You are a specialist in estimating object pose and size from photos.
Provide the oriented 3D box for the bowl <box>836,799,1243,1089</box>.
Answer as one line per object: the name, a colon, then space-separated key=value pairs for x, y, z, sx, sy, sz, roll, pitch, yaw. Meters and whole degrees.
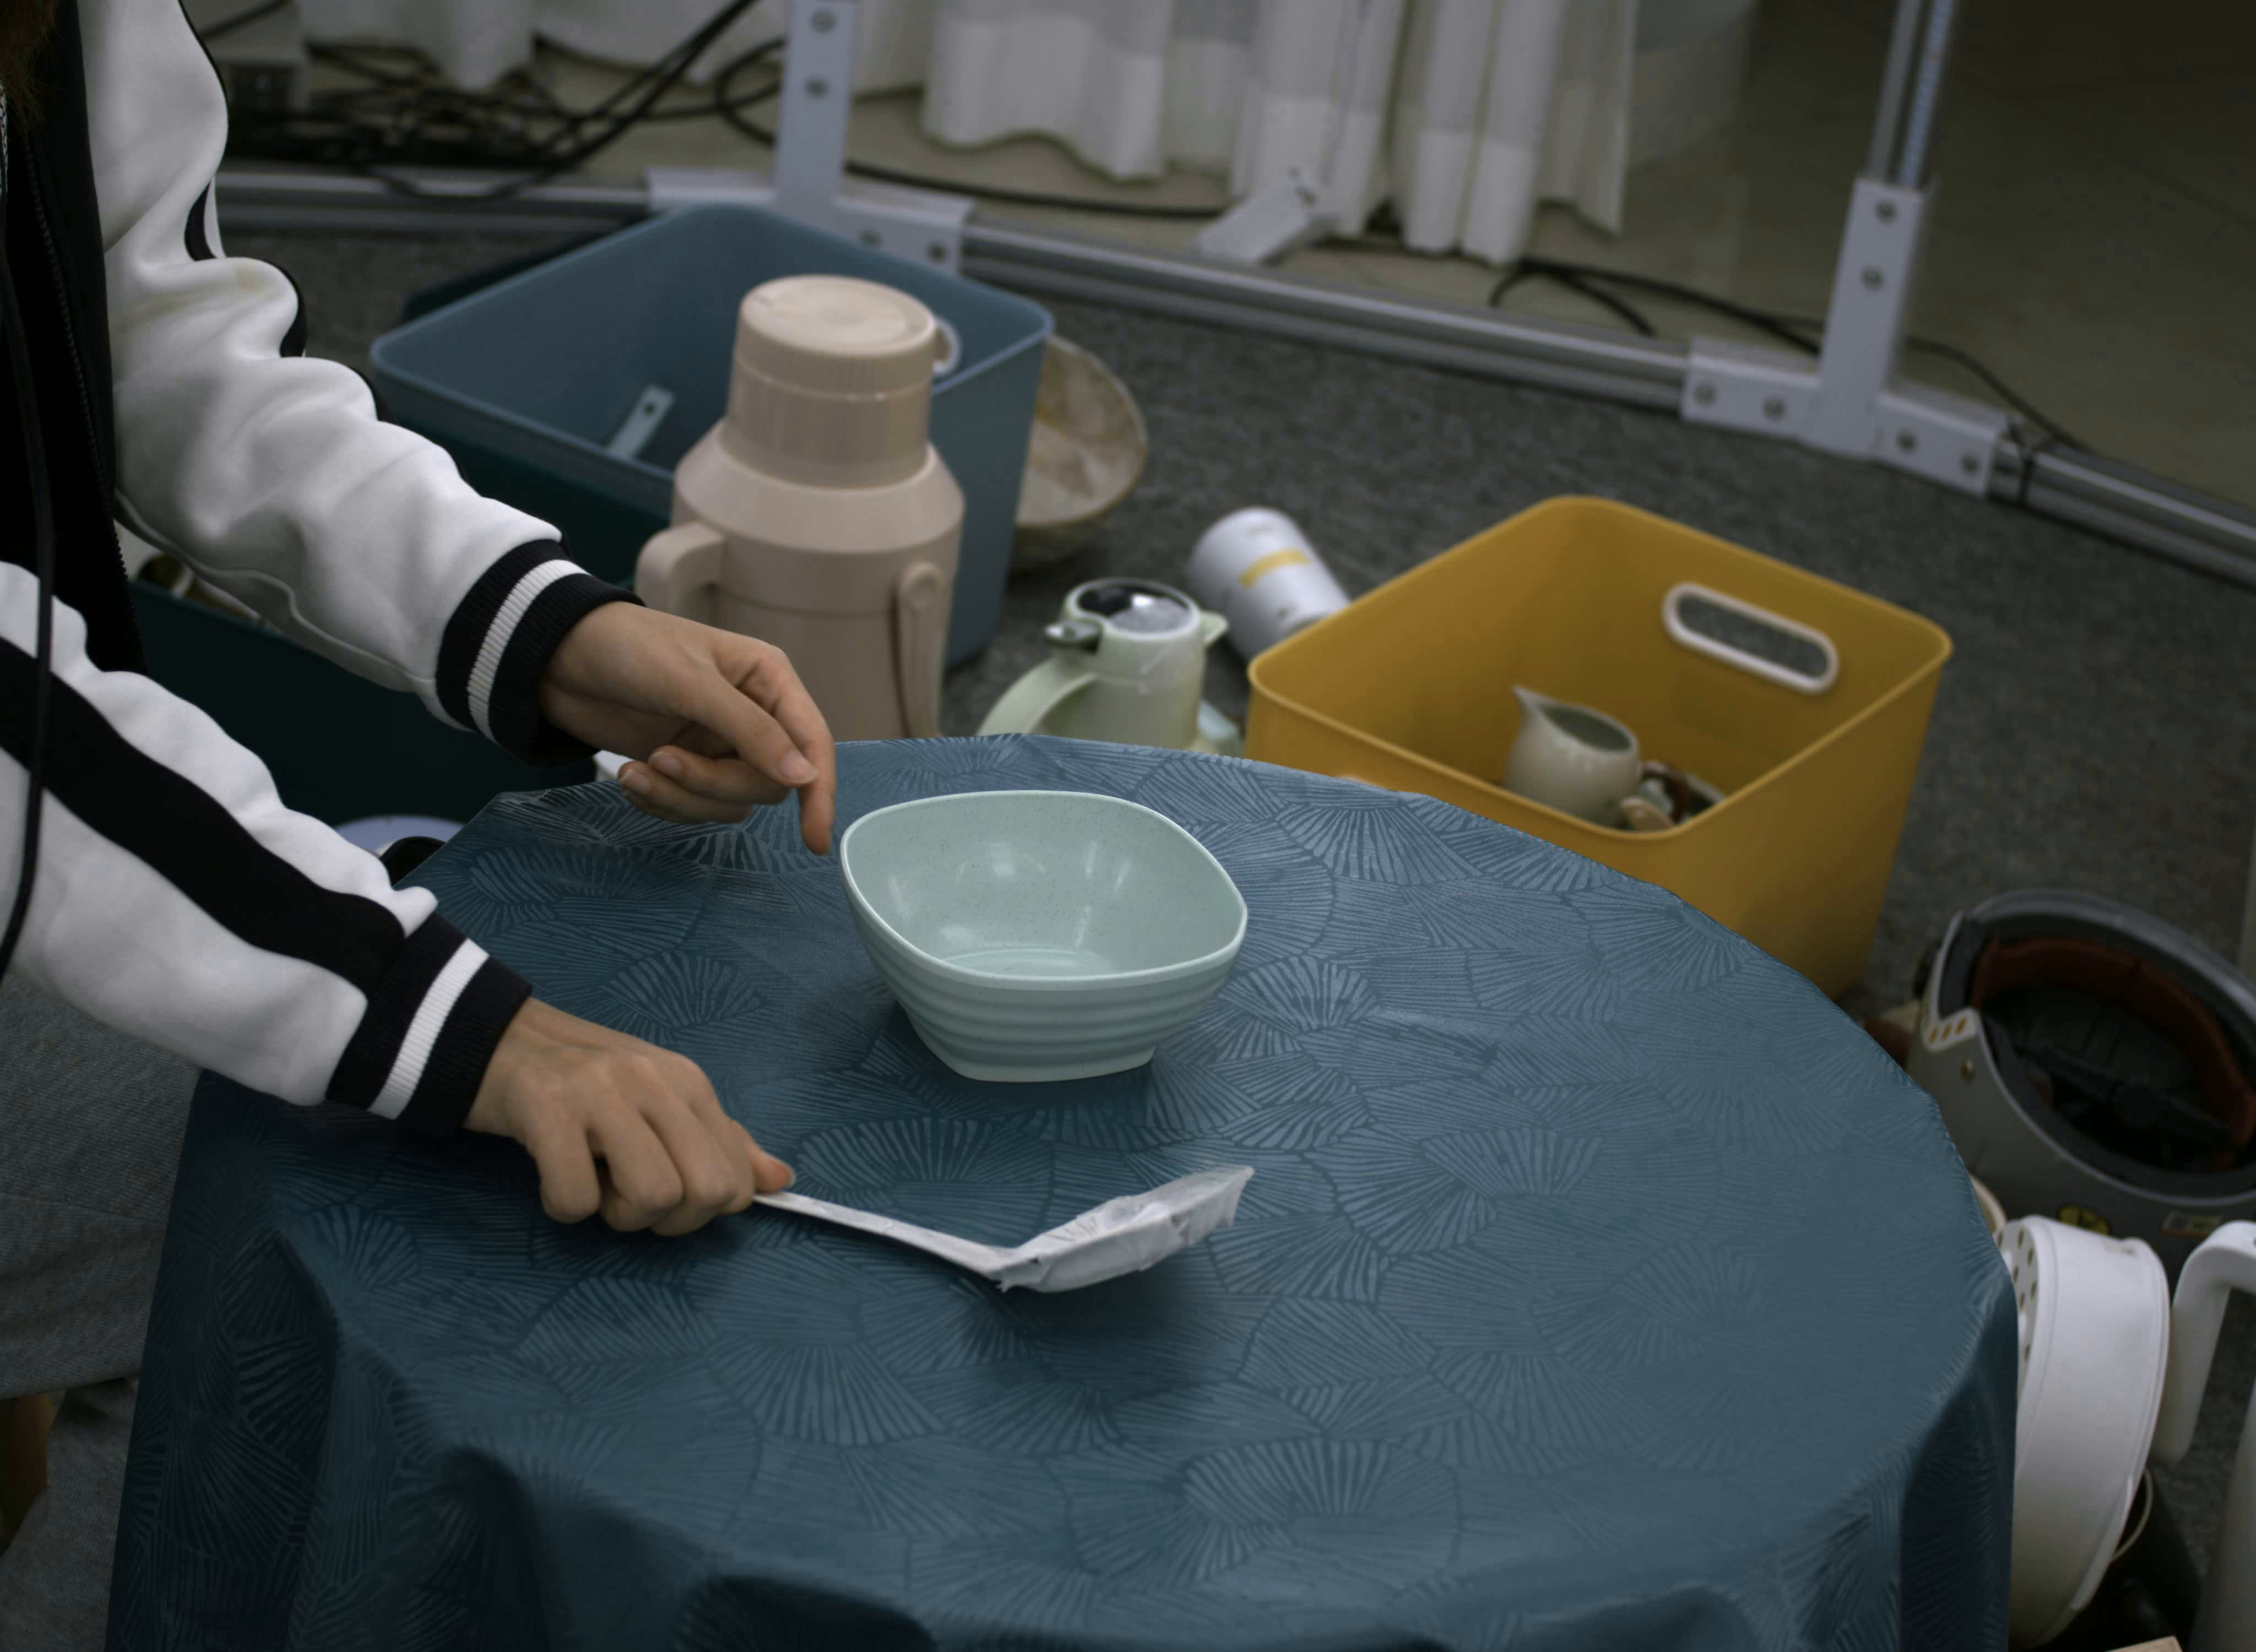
bowl: x=-0.034 y=0.047 z=1.887 sx=0.151 sy=0.058 sz=0.152 roll=5 pitch=27 yaw=-3

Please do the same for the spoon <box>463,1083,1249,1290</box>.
spoon: x=-0.093 y=0.102 z=1.765 sx=0.278 sy=0.059 sz=0.100 roll=16 pitch=9 yaw=20
